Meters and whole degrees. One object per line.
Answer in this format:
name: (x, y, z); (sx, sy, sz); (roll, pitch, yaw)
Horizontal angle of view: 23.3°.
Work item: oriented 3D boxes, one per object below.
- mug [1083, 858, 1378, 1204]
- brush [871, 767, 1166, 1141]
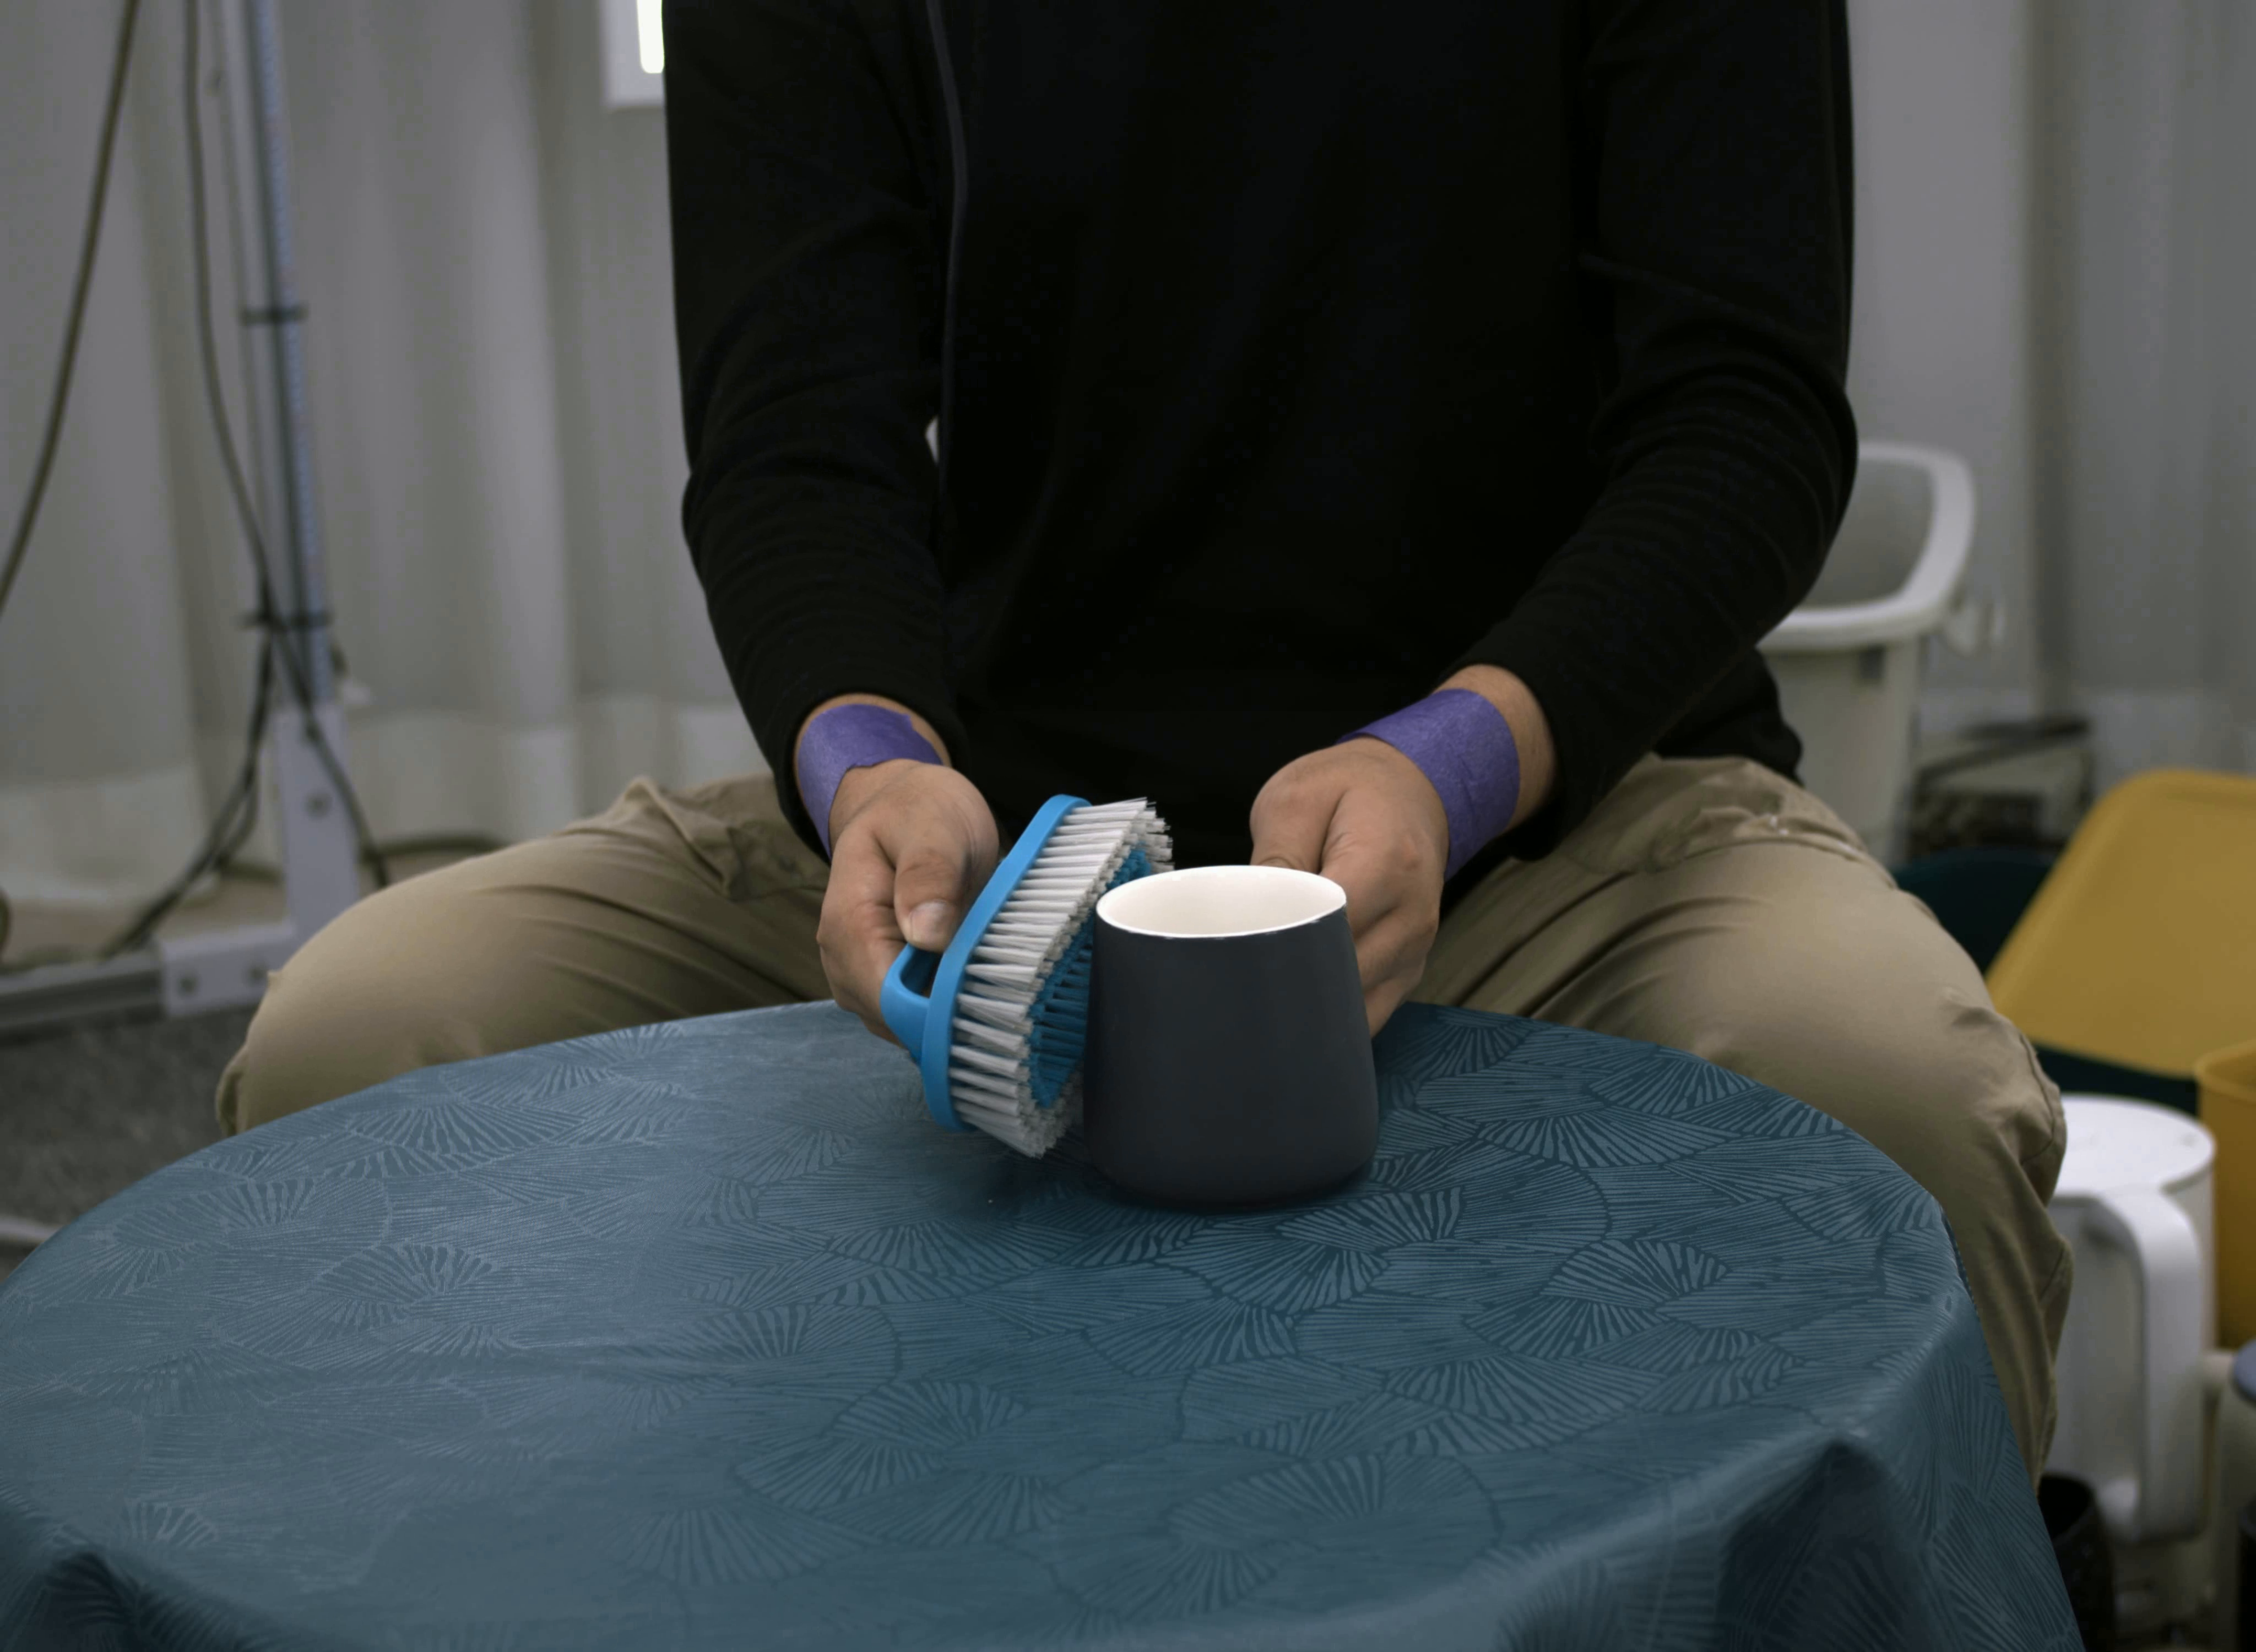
mug: (0.035, 0.060, 1.731); (0.093, 0.089, 0.124); (1, 17, 14)
brush: (-0.040, 0.040, 1.738); (0.064, 0.083, 0.143); (6, 36, 22)
